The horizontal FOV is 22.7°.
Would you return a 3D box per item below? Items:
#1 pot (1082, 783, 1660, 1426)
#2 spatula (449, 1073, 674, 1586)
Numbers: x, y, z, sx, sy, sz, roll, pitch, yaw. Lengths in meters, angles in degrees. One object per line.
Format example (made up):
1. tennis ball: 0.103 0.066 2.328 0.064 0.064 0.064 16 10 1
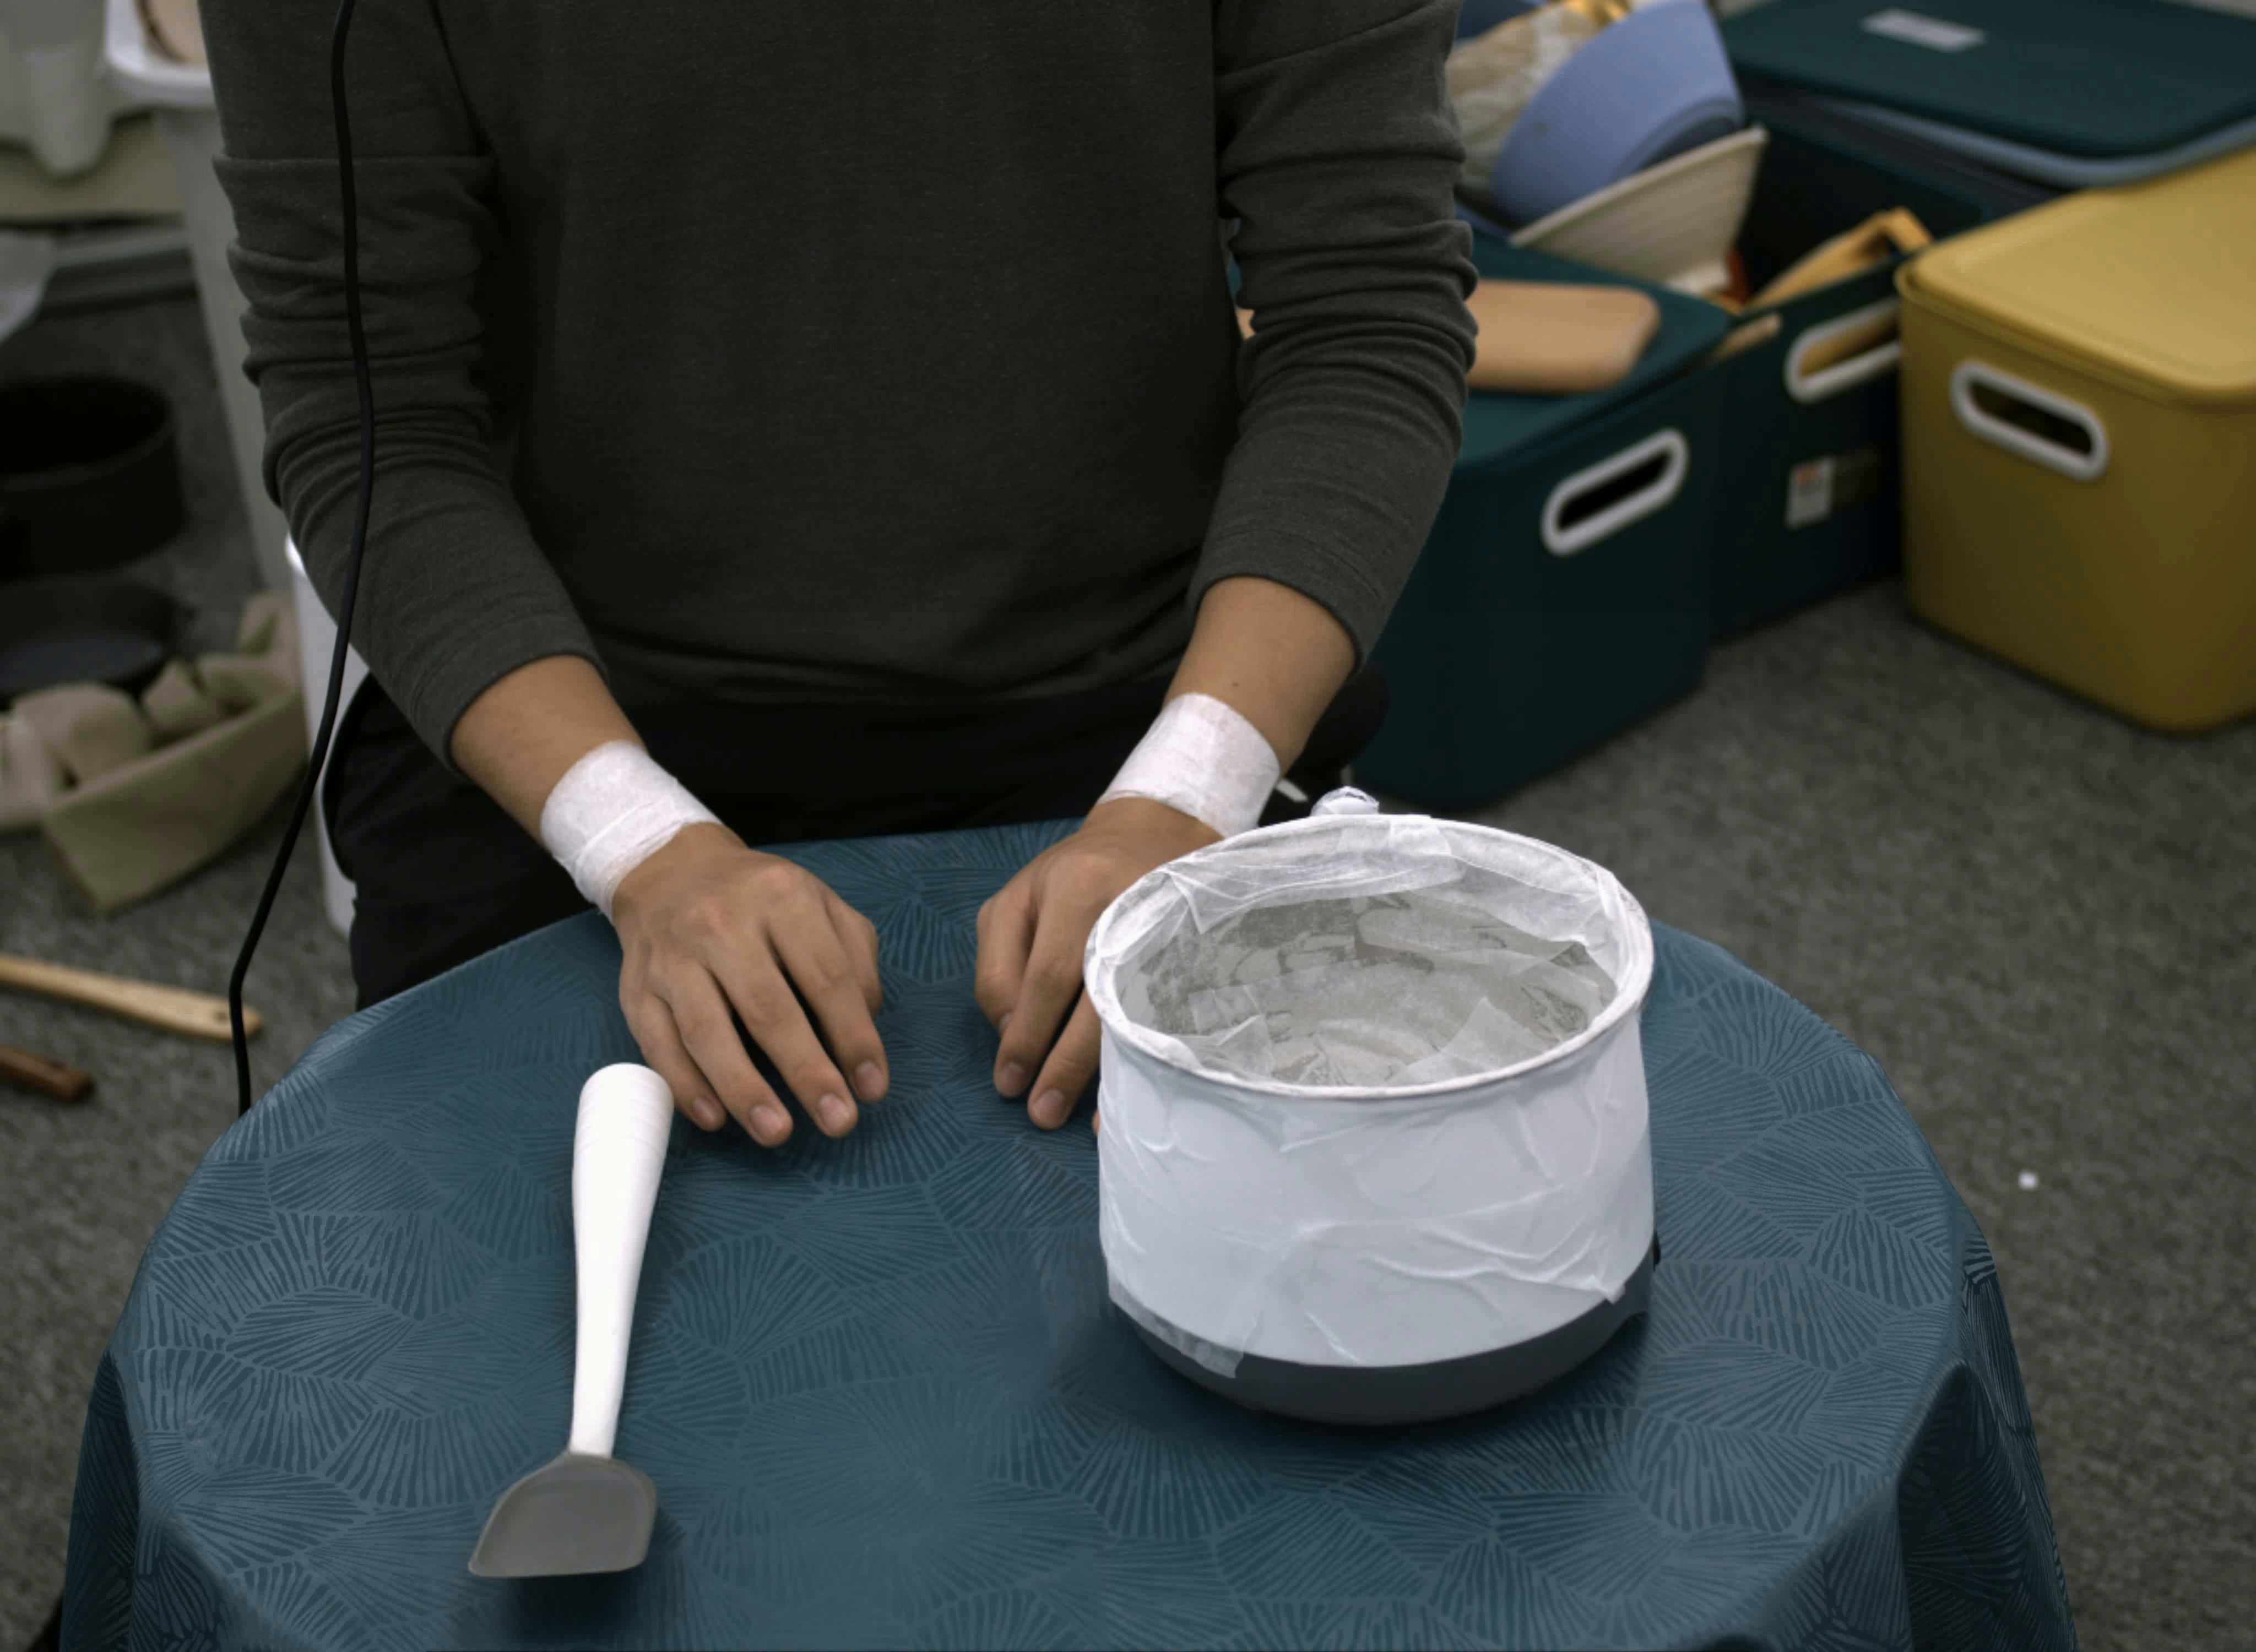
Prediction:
1. pot: 0.076 0.080 1.786 0.178 0.135 0.237 -3 27 -2
2. spatula: -0.169 0.162 1.764 0.058 0.032 0.292 1 27 0
